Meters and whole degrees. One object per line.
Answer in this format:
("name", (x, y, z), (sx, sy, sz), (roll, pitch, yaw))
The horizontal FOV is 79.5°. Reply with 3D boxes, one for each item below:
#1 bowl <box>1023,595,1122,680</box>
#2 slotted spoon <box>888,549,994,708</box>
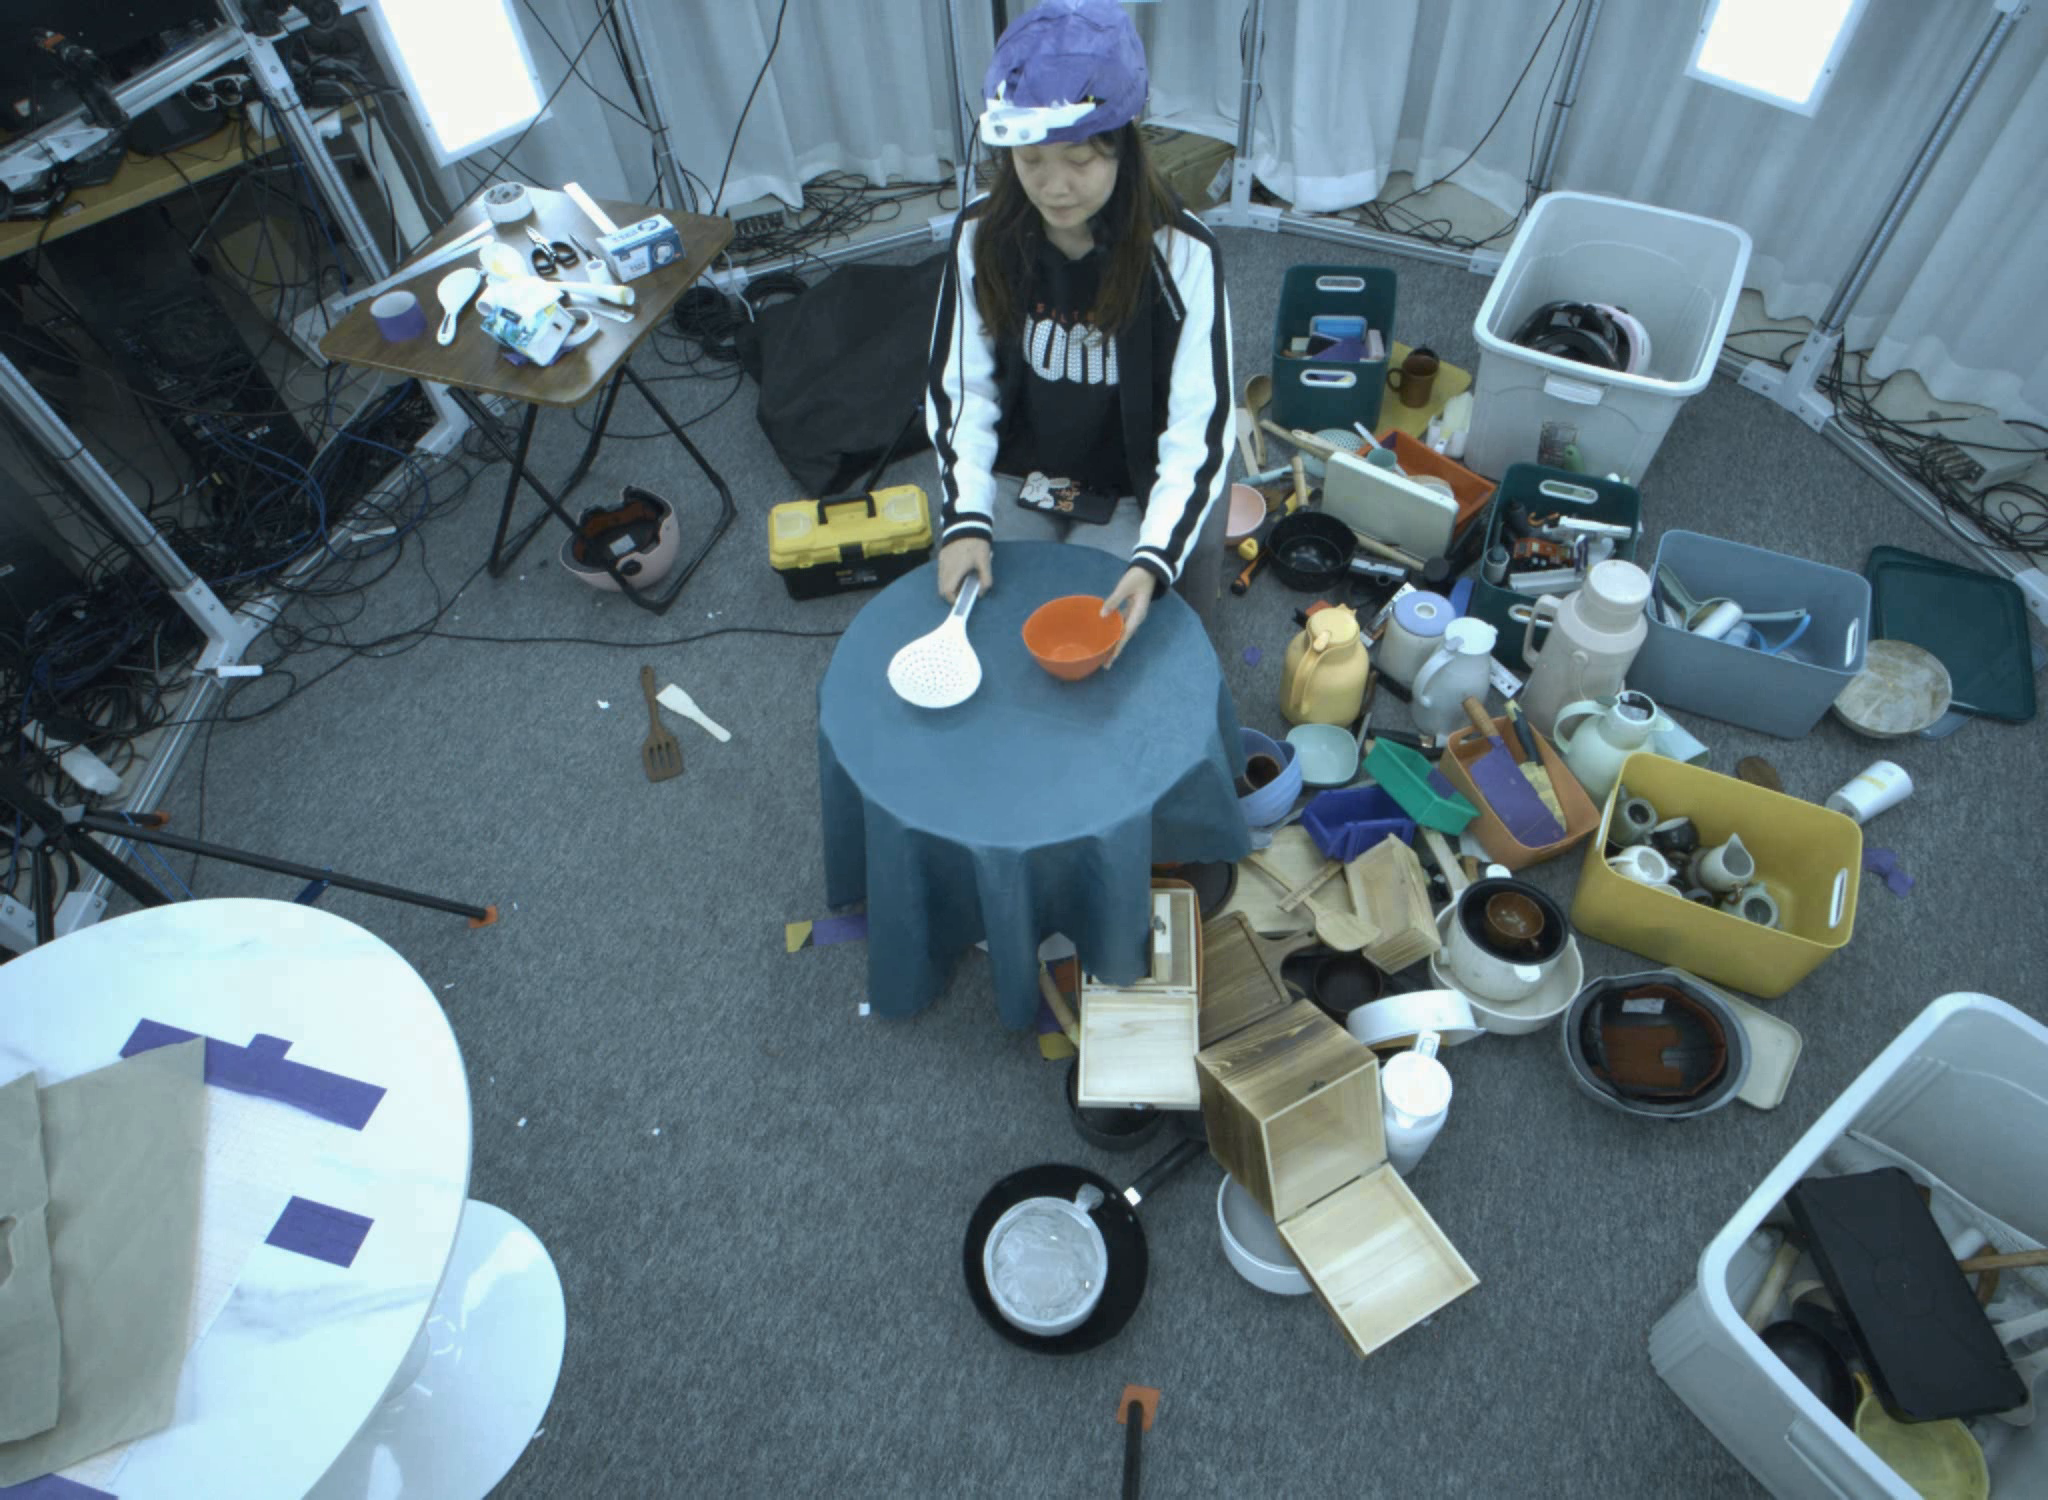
("bowl", (0.074, -0.154, 1.833), (0.148, 0.106, 0.146), (-2, 54, 4))
("slotted spoon", (-0.108, -0.193, 1.897), (0.135, 0.046, 0.348), (14, 57, 6))
